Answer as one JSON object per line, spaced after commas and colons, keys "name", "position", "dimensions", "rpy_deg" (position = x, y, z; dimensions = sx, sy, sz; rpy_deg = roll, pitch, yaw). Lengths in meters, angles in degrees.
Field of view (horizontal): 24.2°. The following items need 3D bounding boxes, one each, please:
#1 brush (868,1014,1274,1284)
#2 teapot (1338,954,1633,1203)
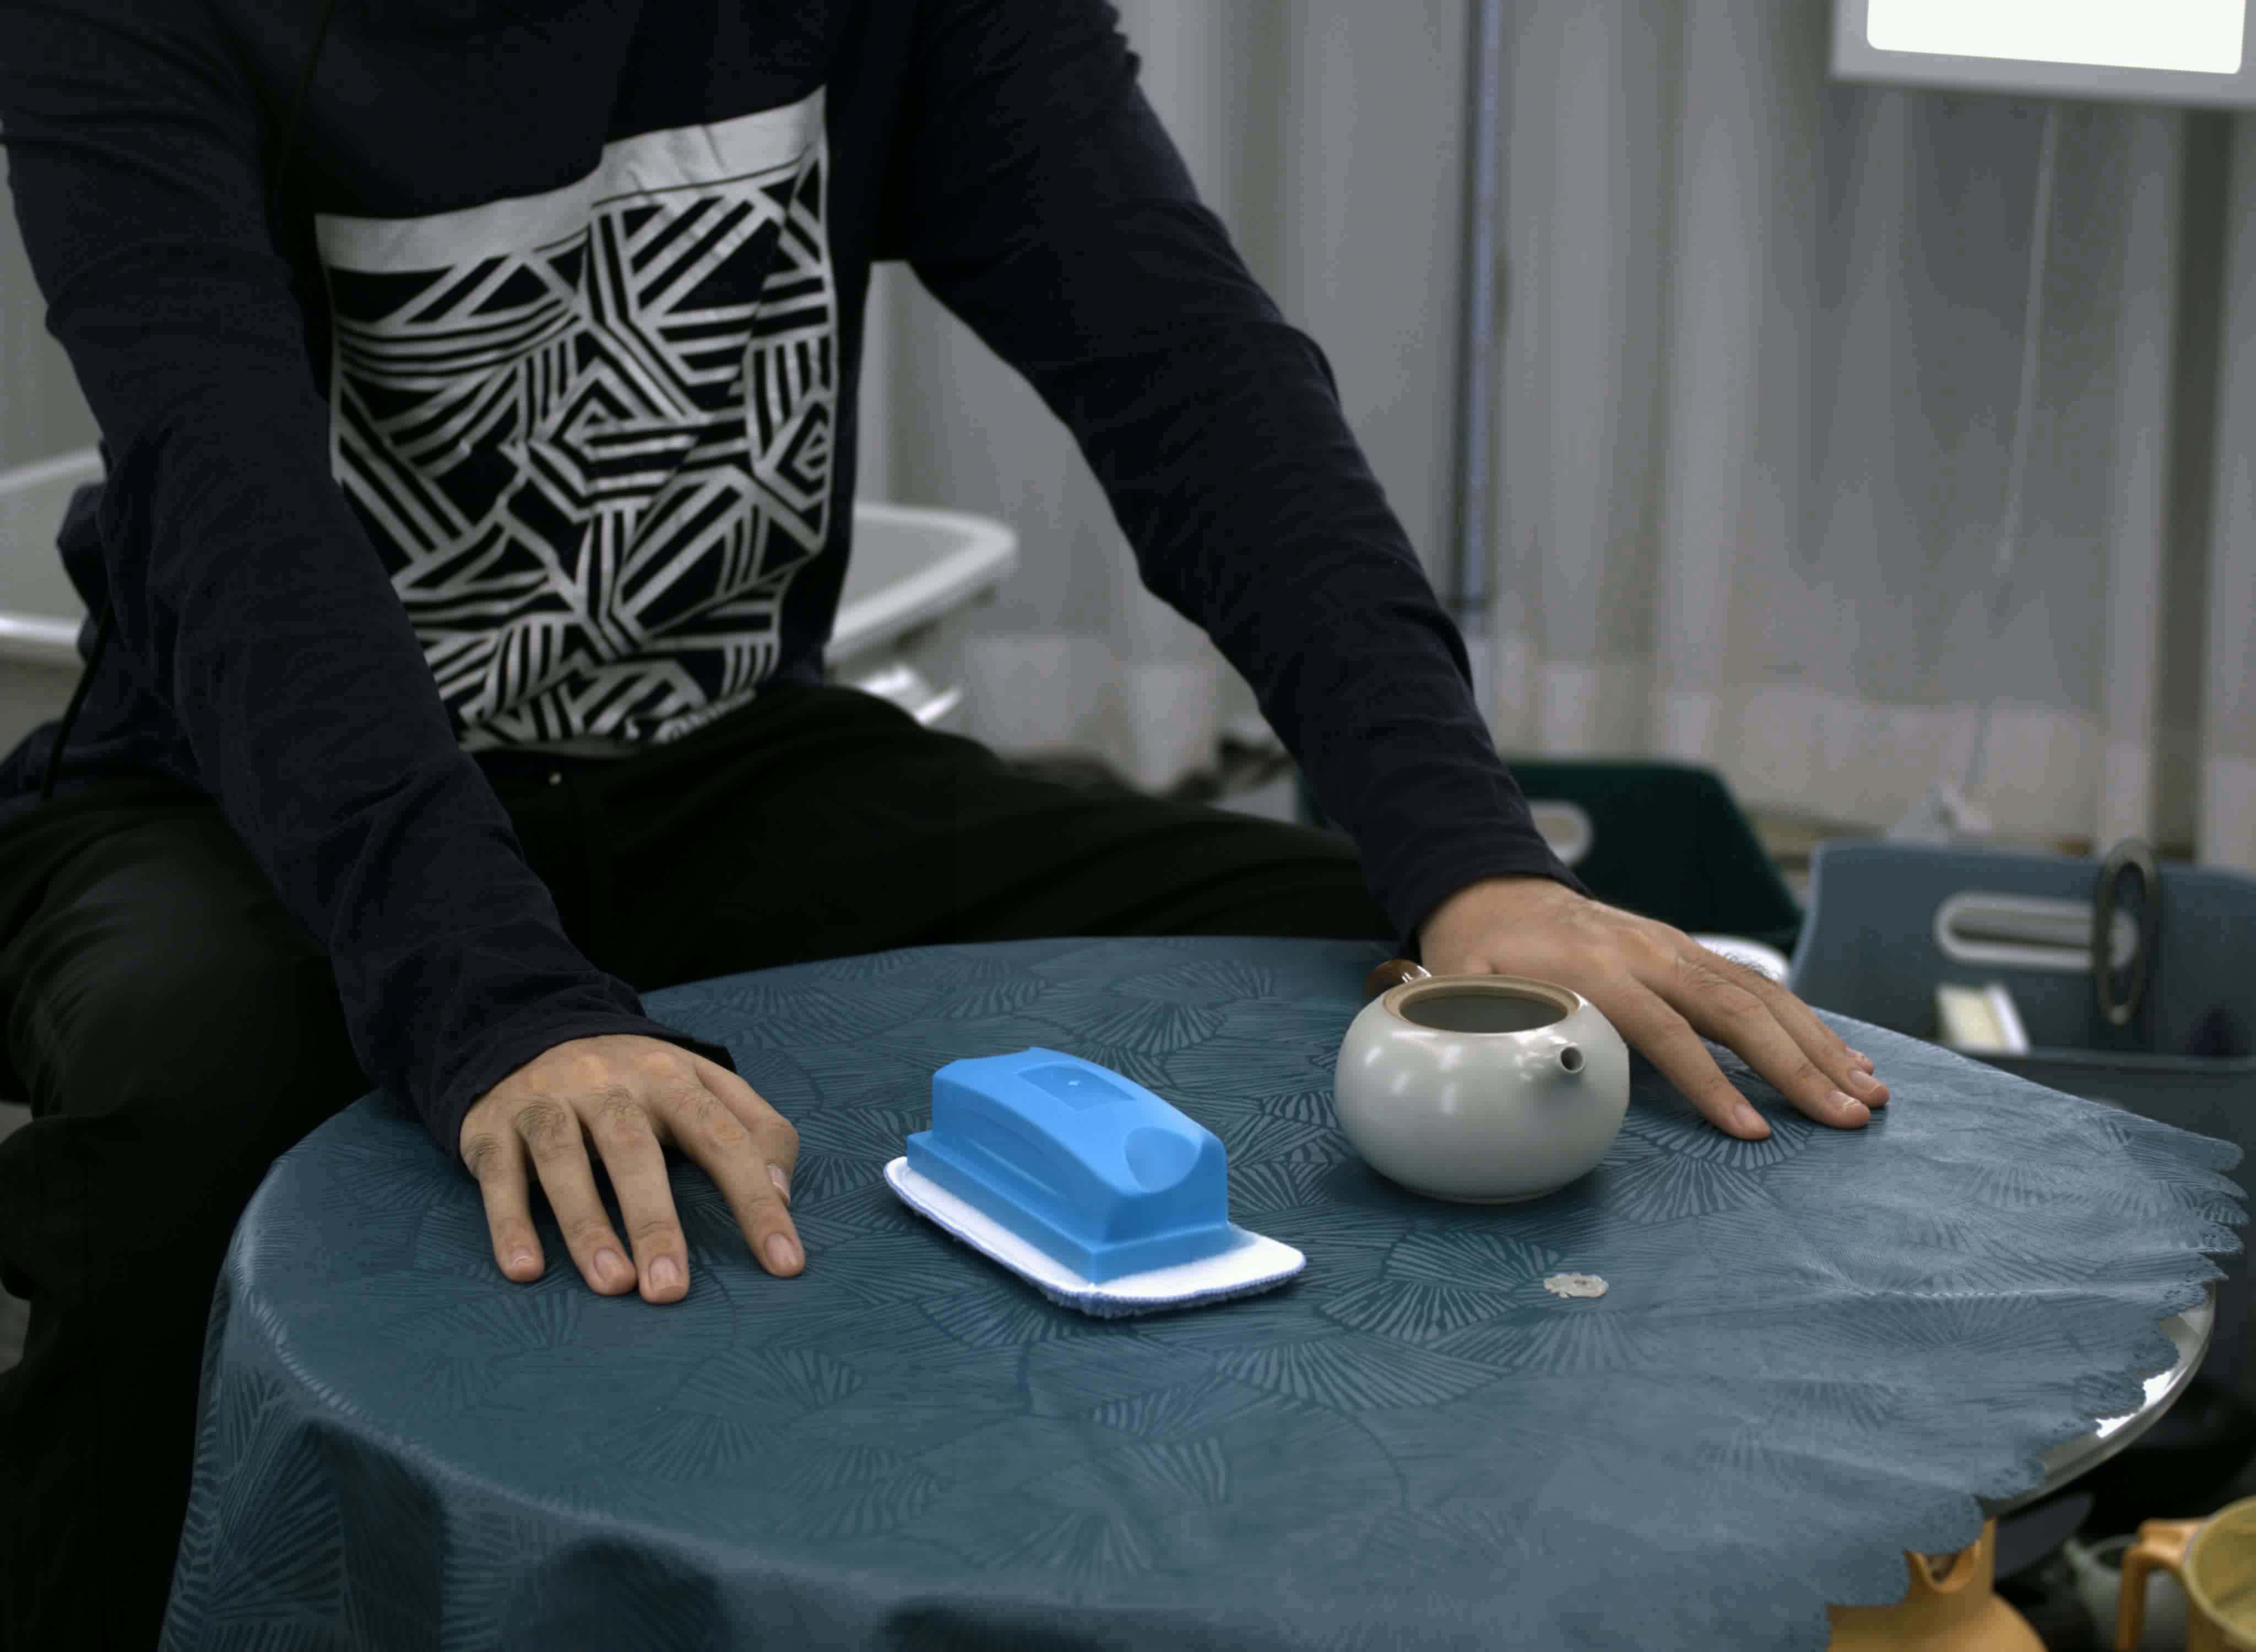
{"name": "brush", "position": [-0.016, 0.094, 1.577], "dimensions": [0.084, 0.056, 0.142], "rpy_deg": [-4, 19, -27]}
{"name": "teapot", "position": [0.106, 0.078, 1.642], "dimensions": [0.092, 0.060, 0.126], "rpy_deg": [-12, 21, -29]}
